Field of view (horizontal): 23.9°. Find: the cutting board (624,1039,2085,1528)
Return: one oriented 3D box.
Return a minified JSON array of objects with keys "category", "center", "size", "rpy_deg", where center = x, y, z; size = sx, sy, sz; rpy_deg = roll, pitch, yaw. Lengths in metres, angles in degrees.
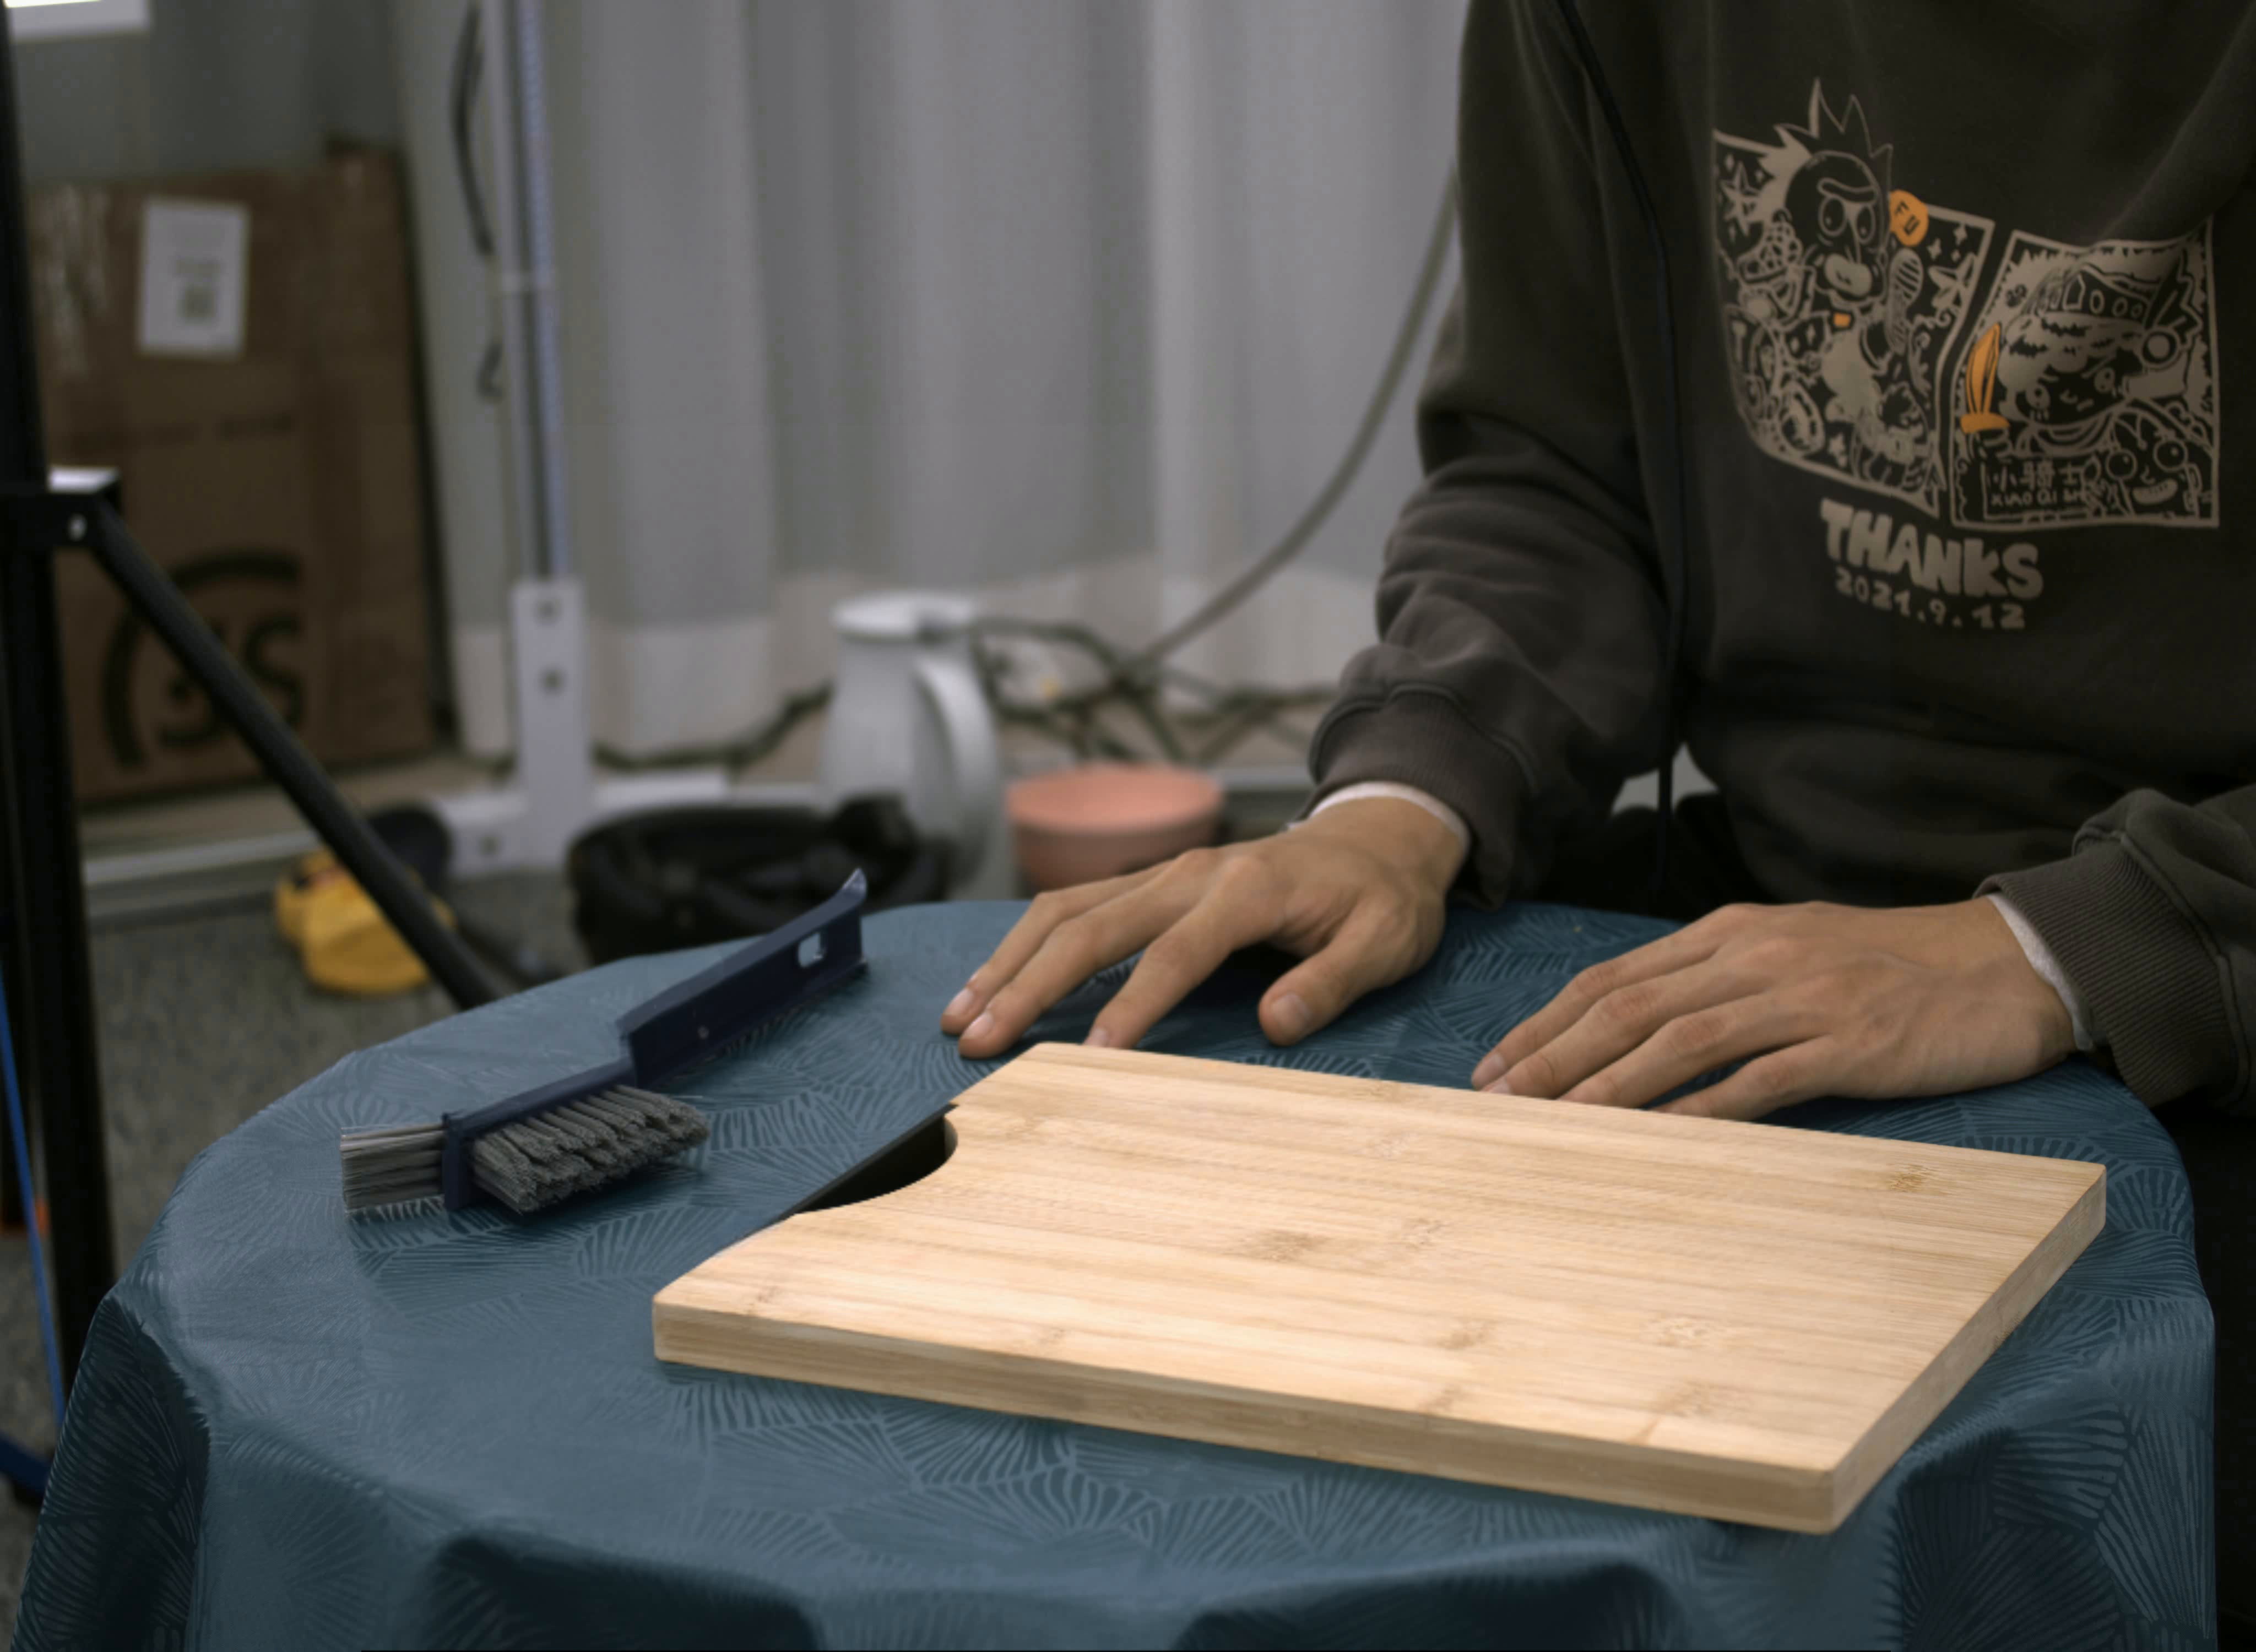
[{"category":"cutting board","center":[0.067,0.121,1.475],"size":[0.354,0.023,0.247],"rpy_deg":[5,17,26]}]

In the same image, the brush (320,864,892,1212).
[{"category":"brush","center":[-0.153,0.066,1.681],"size":[0.097,0.033,0.270],"rpy_deg":[3,18,19]}]
